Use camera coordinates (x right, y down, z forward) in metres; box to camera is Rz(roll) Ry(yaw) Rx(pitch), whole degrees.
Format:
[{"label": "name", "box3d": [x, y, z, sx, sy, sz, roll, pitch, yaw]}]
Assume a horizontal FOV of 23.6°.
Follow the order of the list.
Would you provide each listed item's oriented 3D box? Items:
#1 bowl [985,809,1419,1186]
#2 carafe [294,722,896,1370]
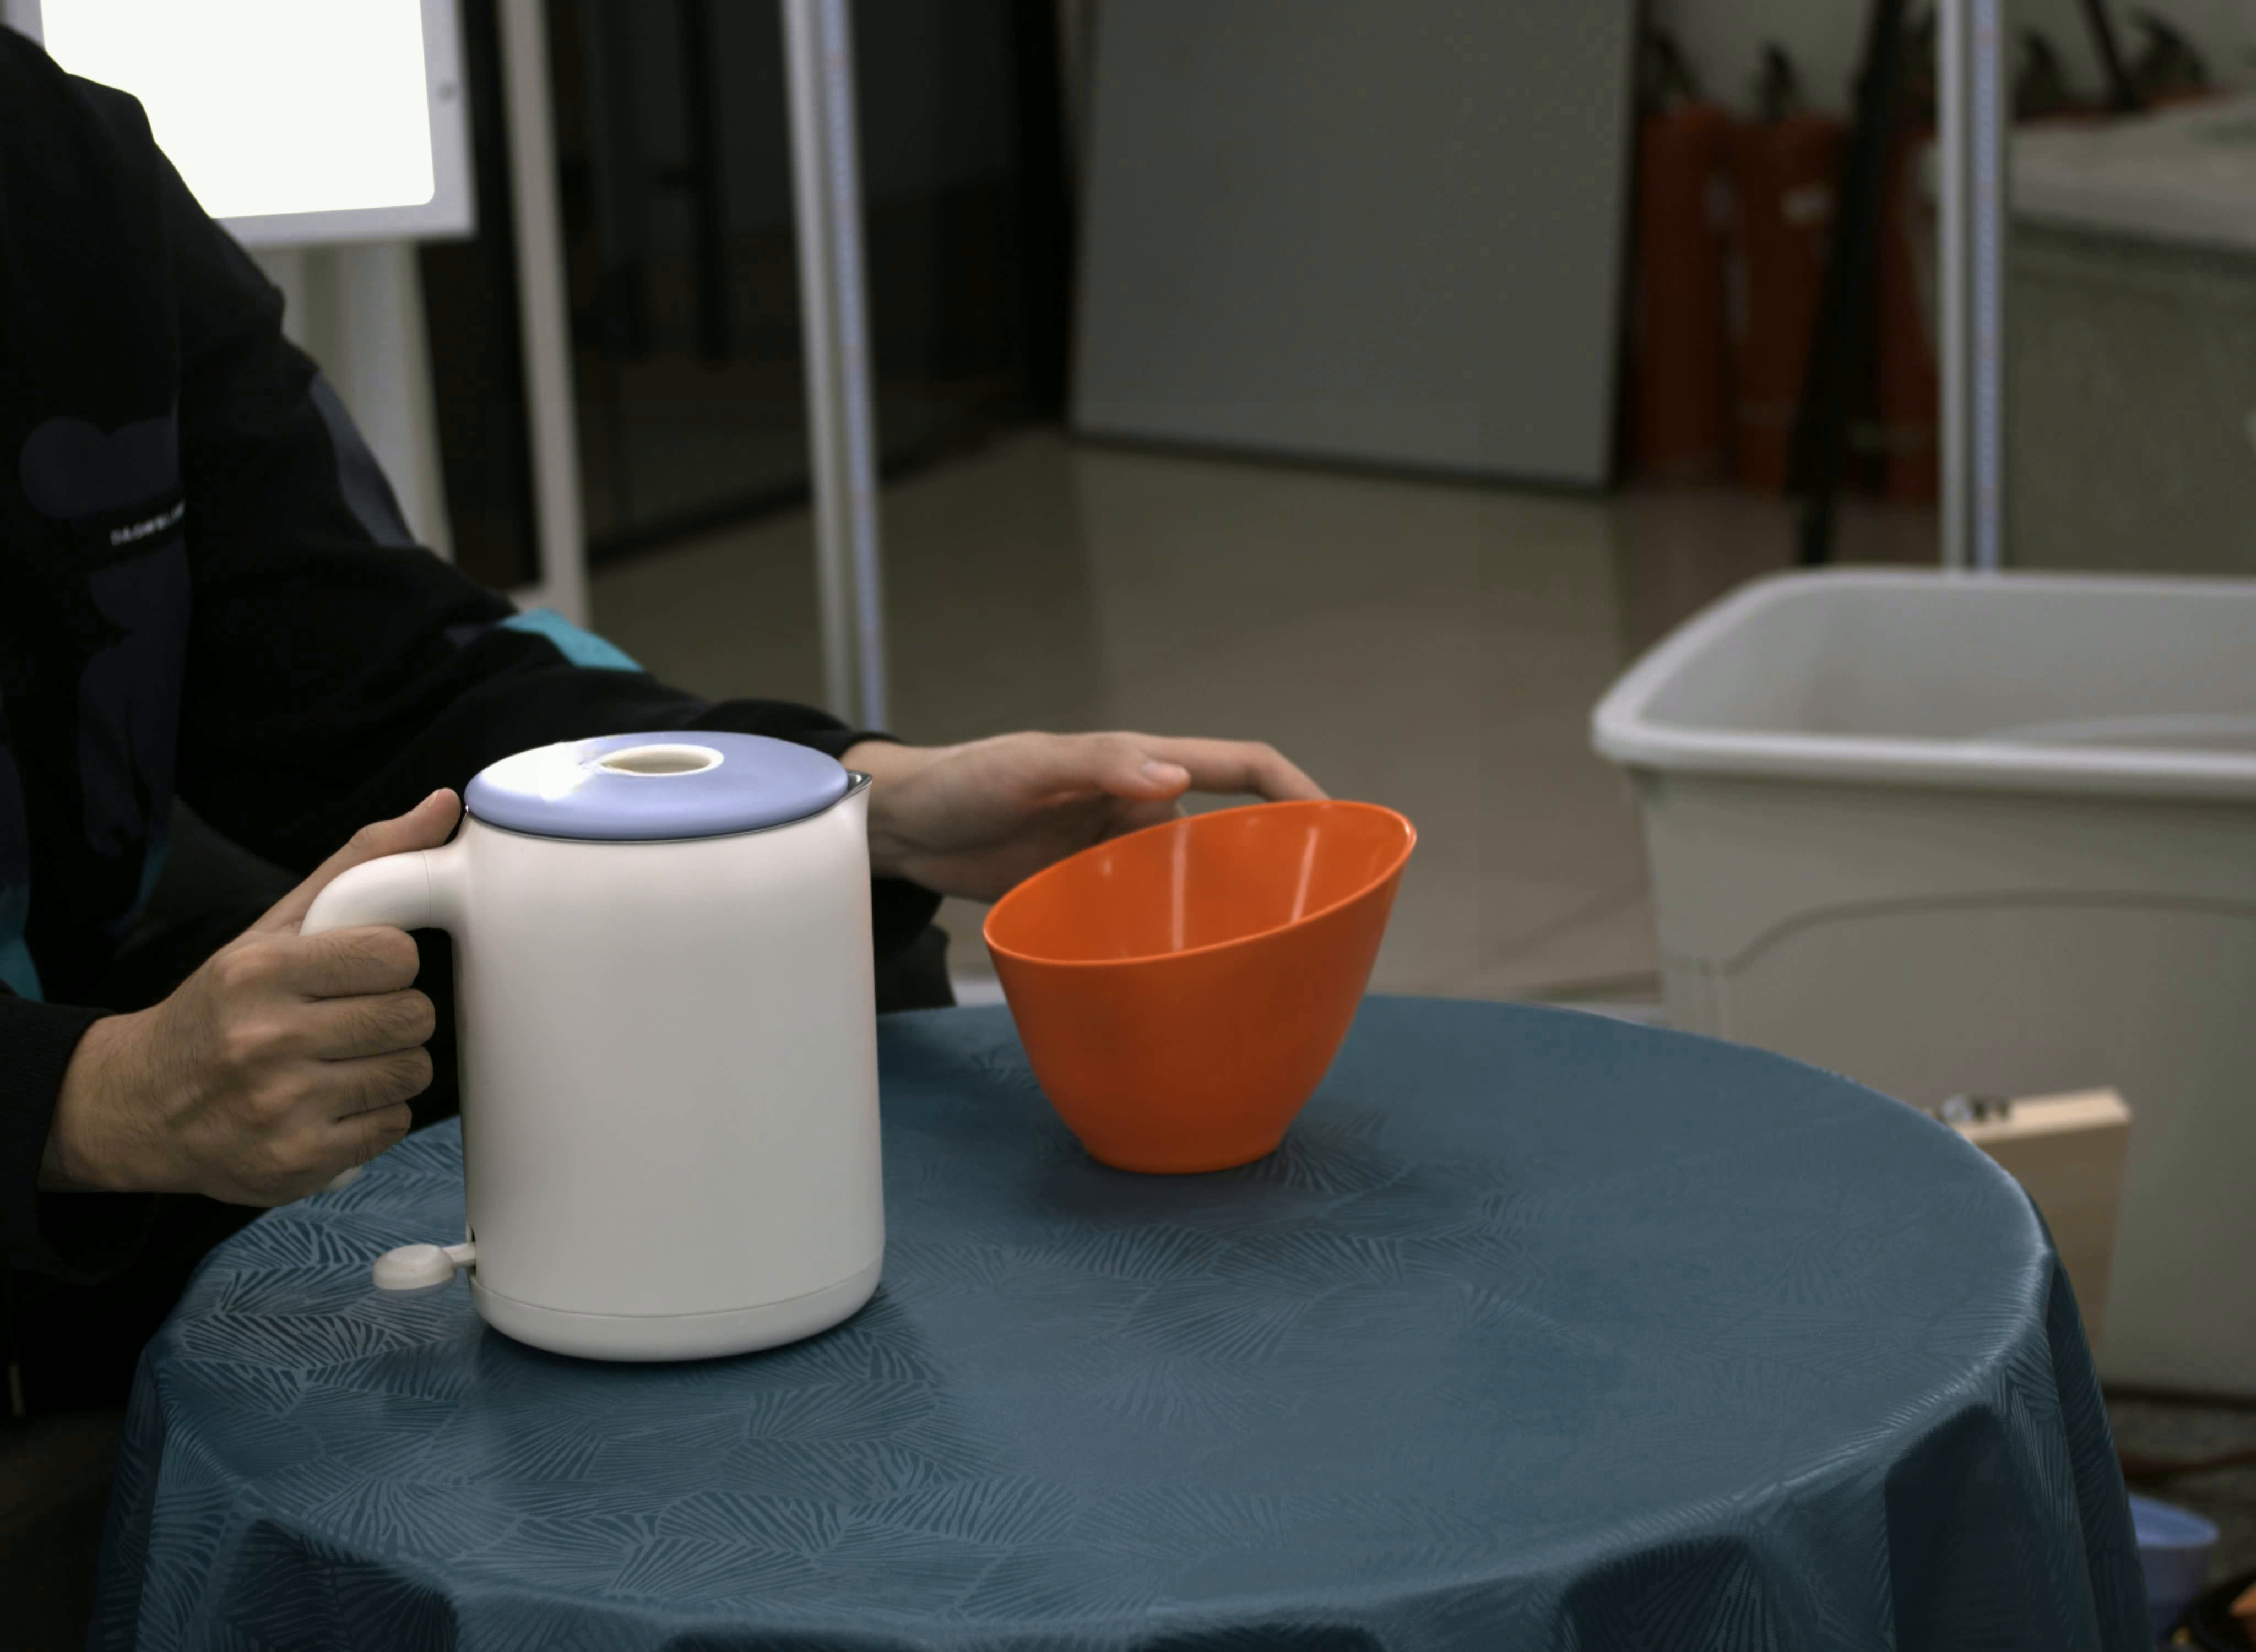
[{"label": "bowl", "box3d": [0.027, 0.060, 1.802, 0.146, 0.106, 0.148, -4, 14, 0]}, {"label": "carafe", "box3d": [-0.163, 0.070, 1.661, 0.187, 0.184, 0.133, -9, 13, -16]}]
